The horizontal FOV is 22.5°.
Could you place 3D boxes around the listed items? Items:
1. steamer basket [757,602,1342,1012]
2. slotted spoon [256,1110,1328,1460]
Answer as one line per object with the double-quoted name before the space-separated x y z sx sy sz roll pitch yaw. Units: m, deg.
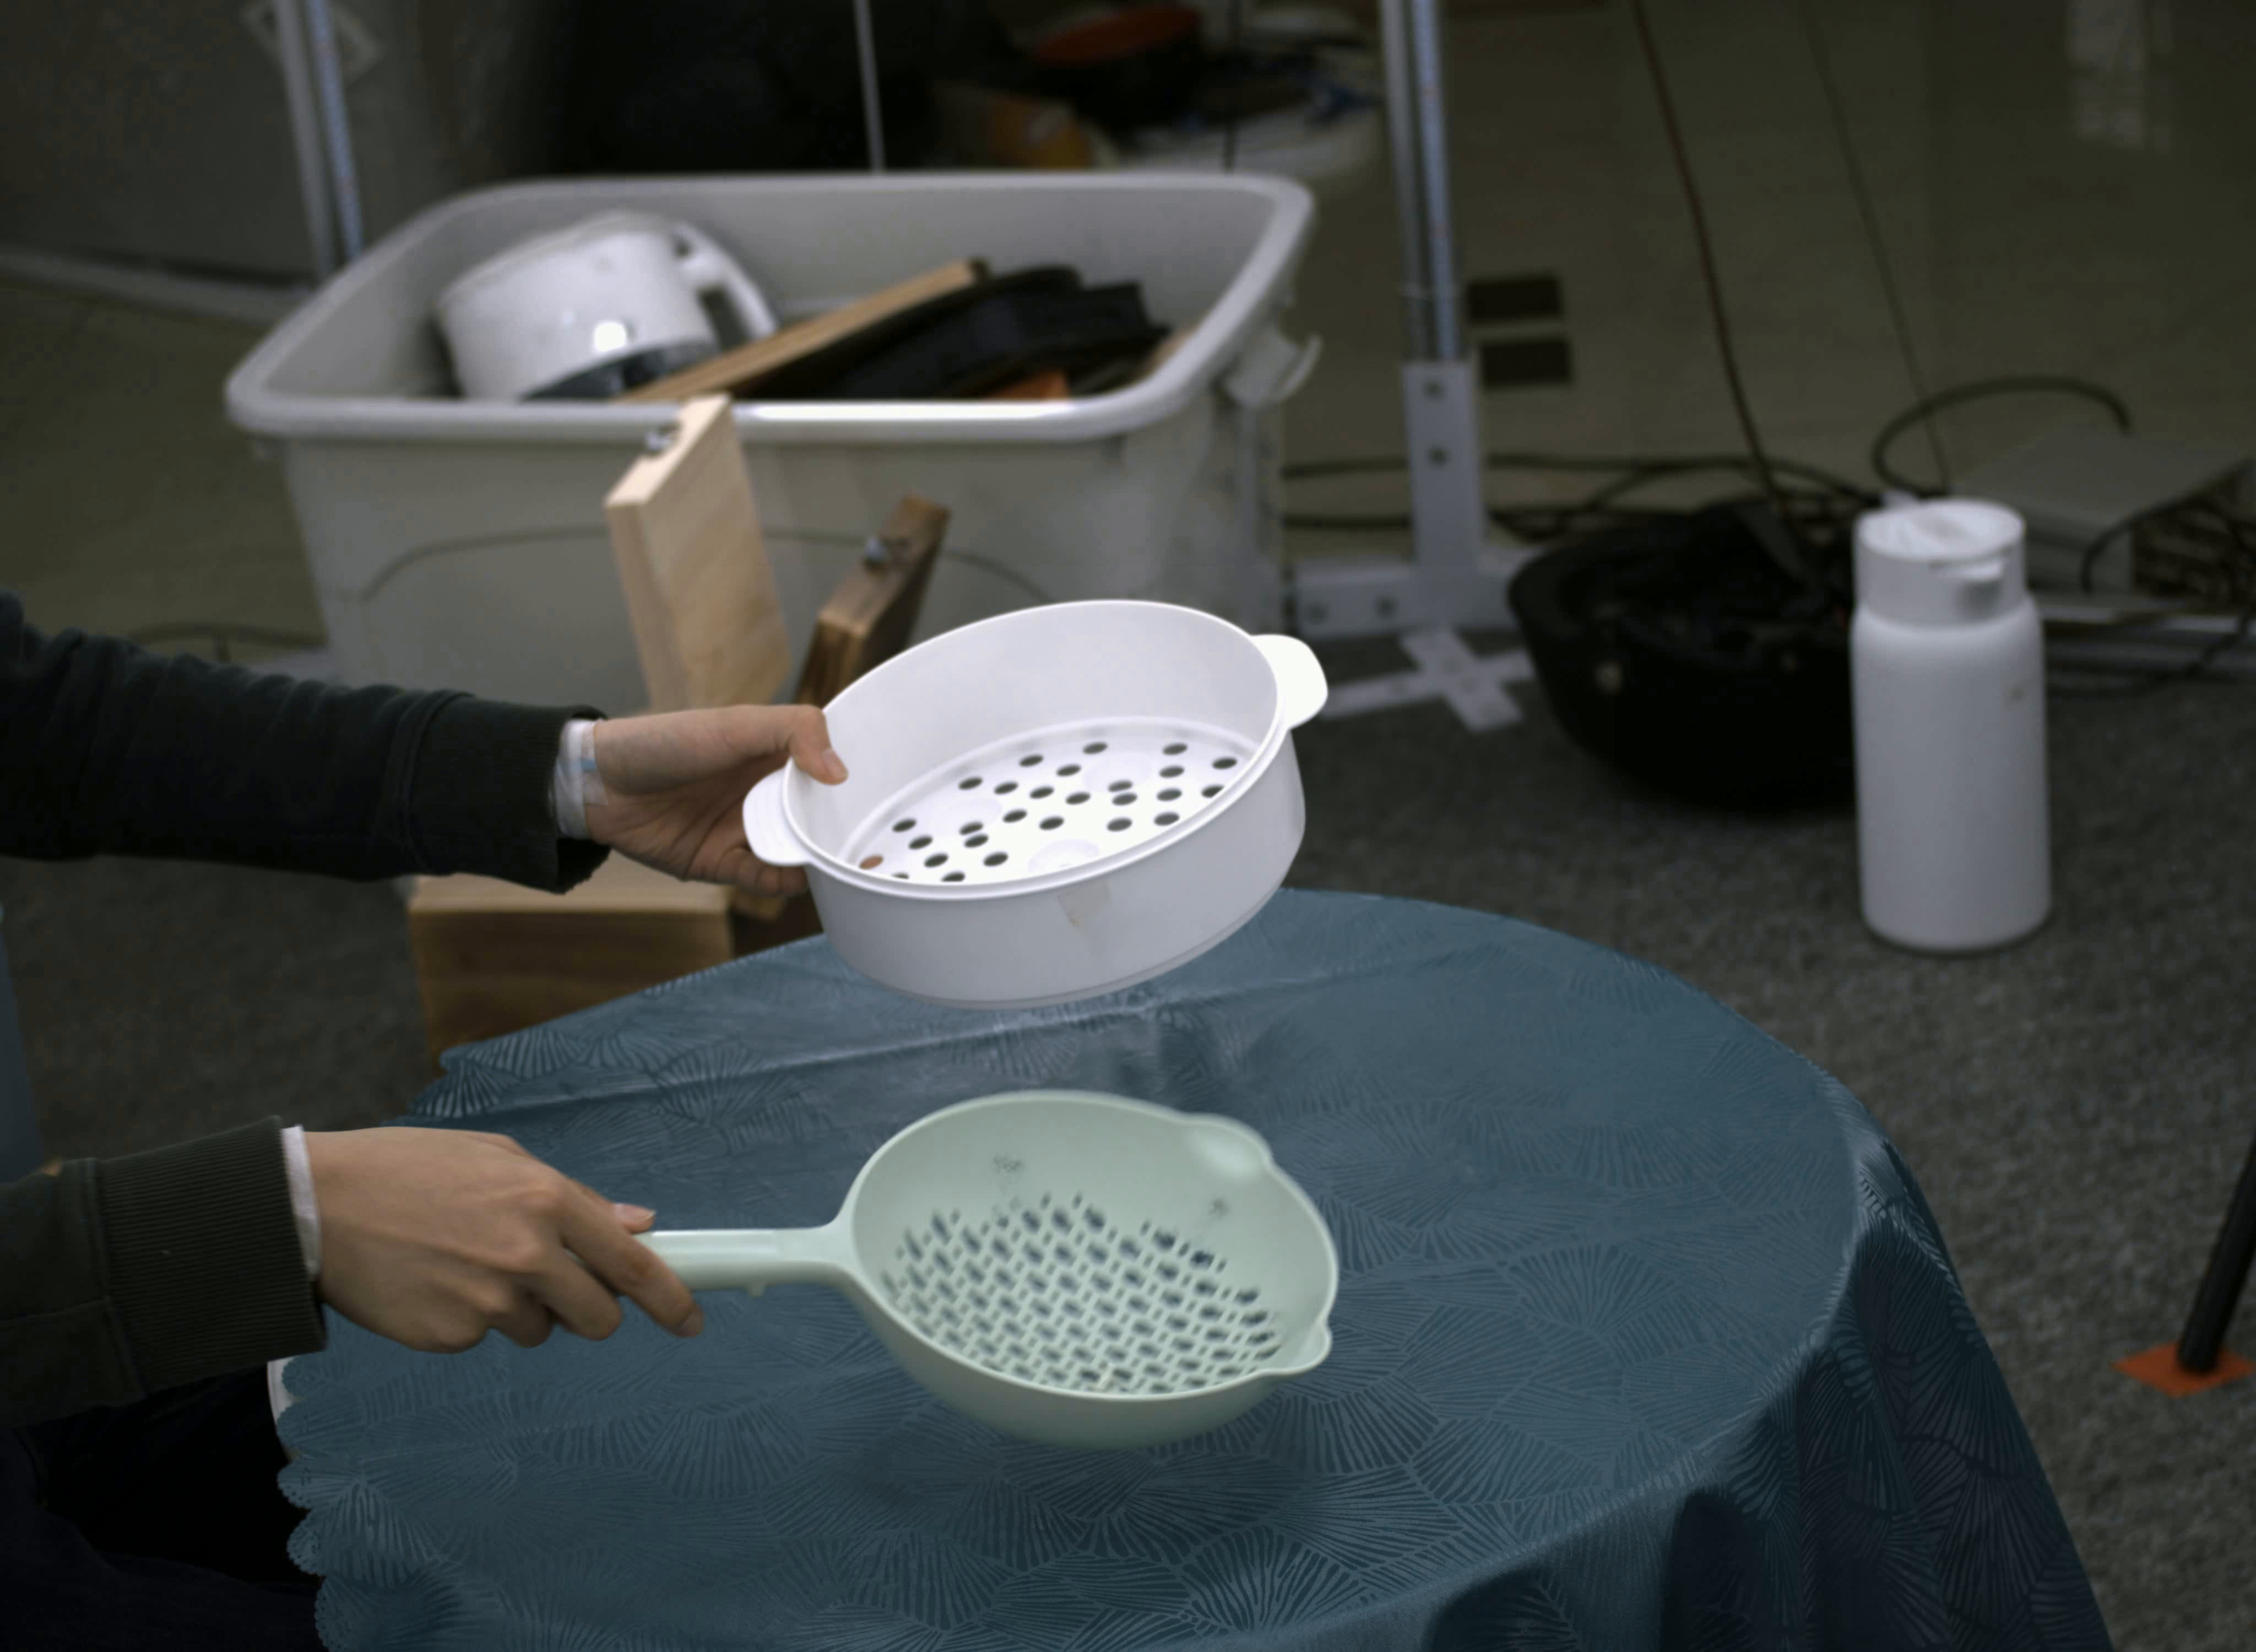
"steamer basket" -0.025 -0.007 2.180 0.230 0.070 0.198 -16 32 -2
"slotted spoon" -0.111 0.154 1.926 0.359 0.076 0.166 9 30 -18
